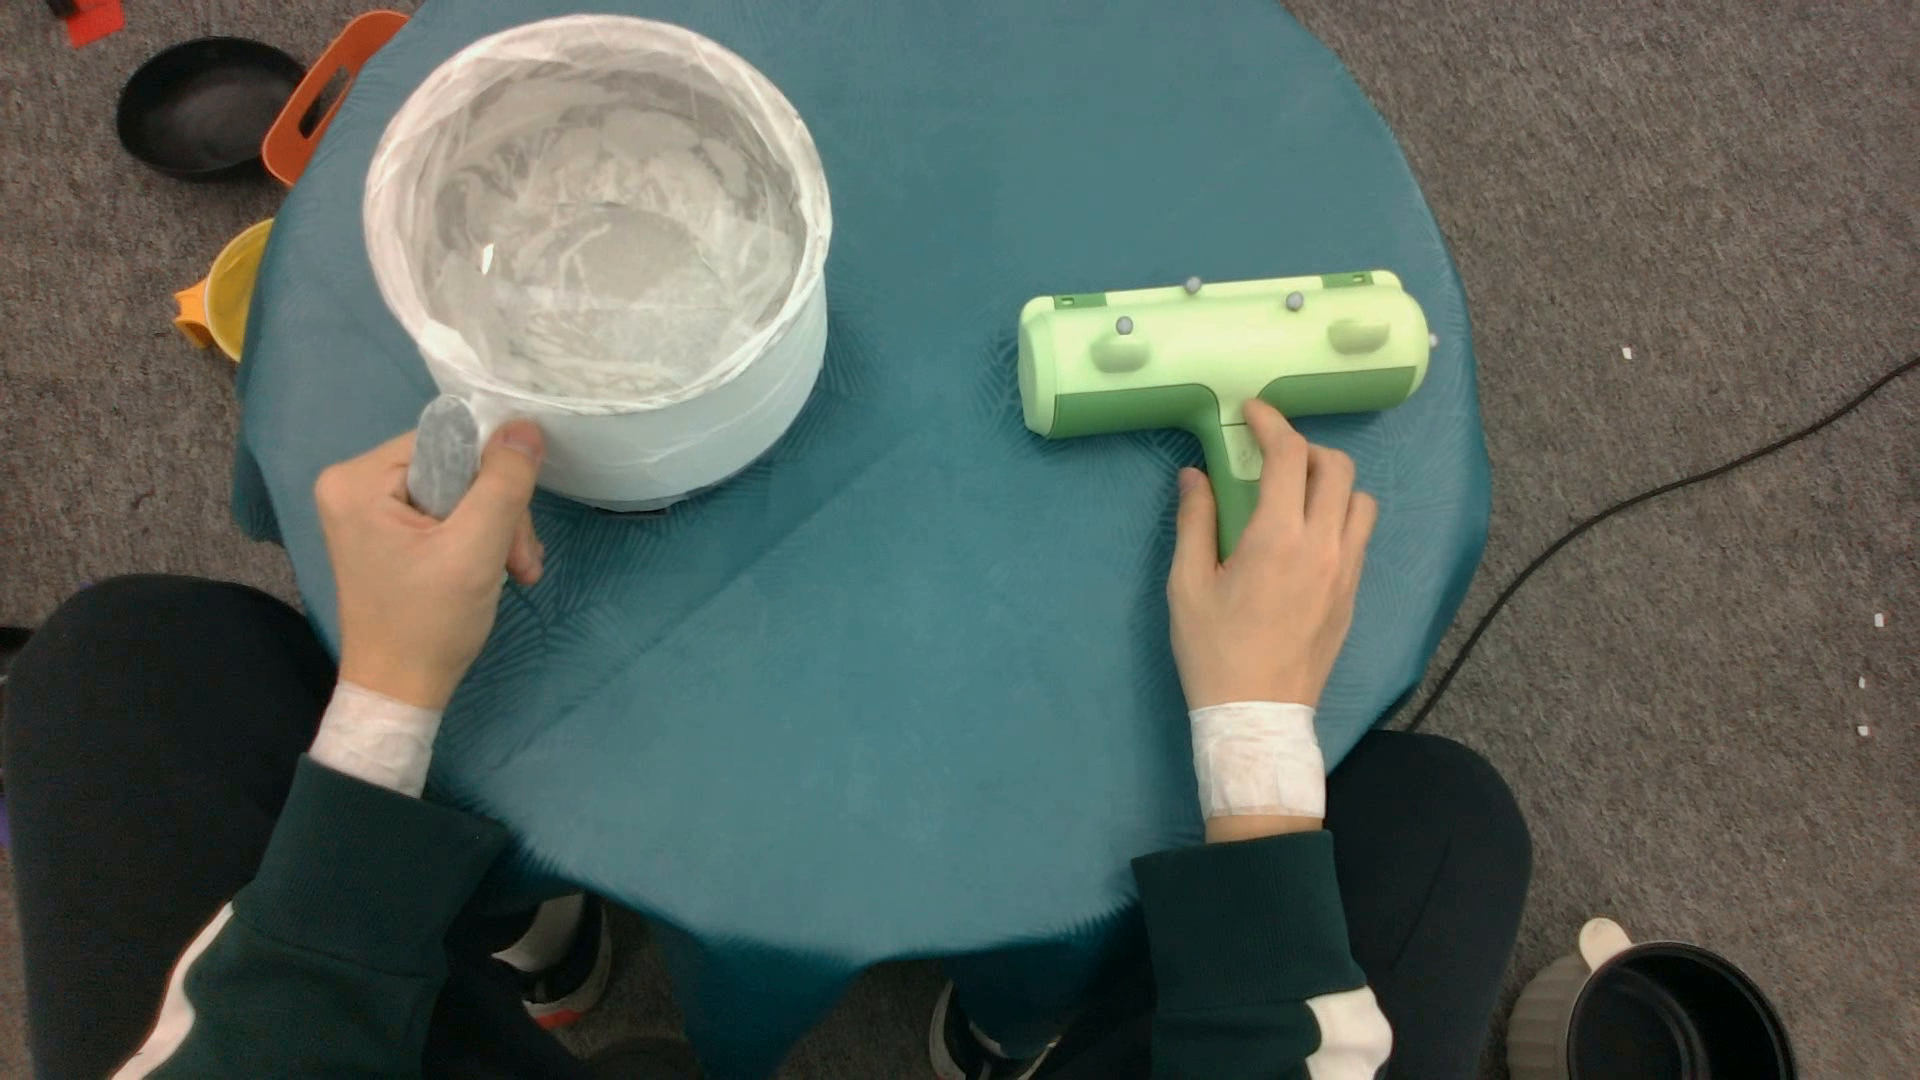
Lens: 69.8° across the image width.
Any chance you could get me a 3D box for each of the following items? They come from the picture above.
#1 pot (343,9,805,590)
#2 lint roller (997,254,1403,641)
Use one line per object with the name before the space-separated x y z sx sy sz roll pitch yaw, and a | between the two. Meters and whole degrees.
pot | -0.168 -0.091 0.590 0.179 0.136 0.234 26 70 2
lint roller | 0.127 -0.049 0.648 0.199 0.082 0.184 -6 68 -10
